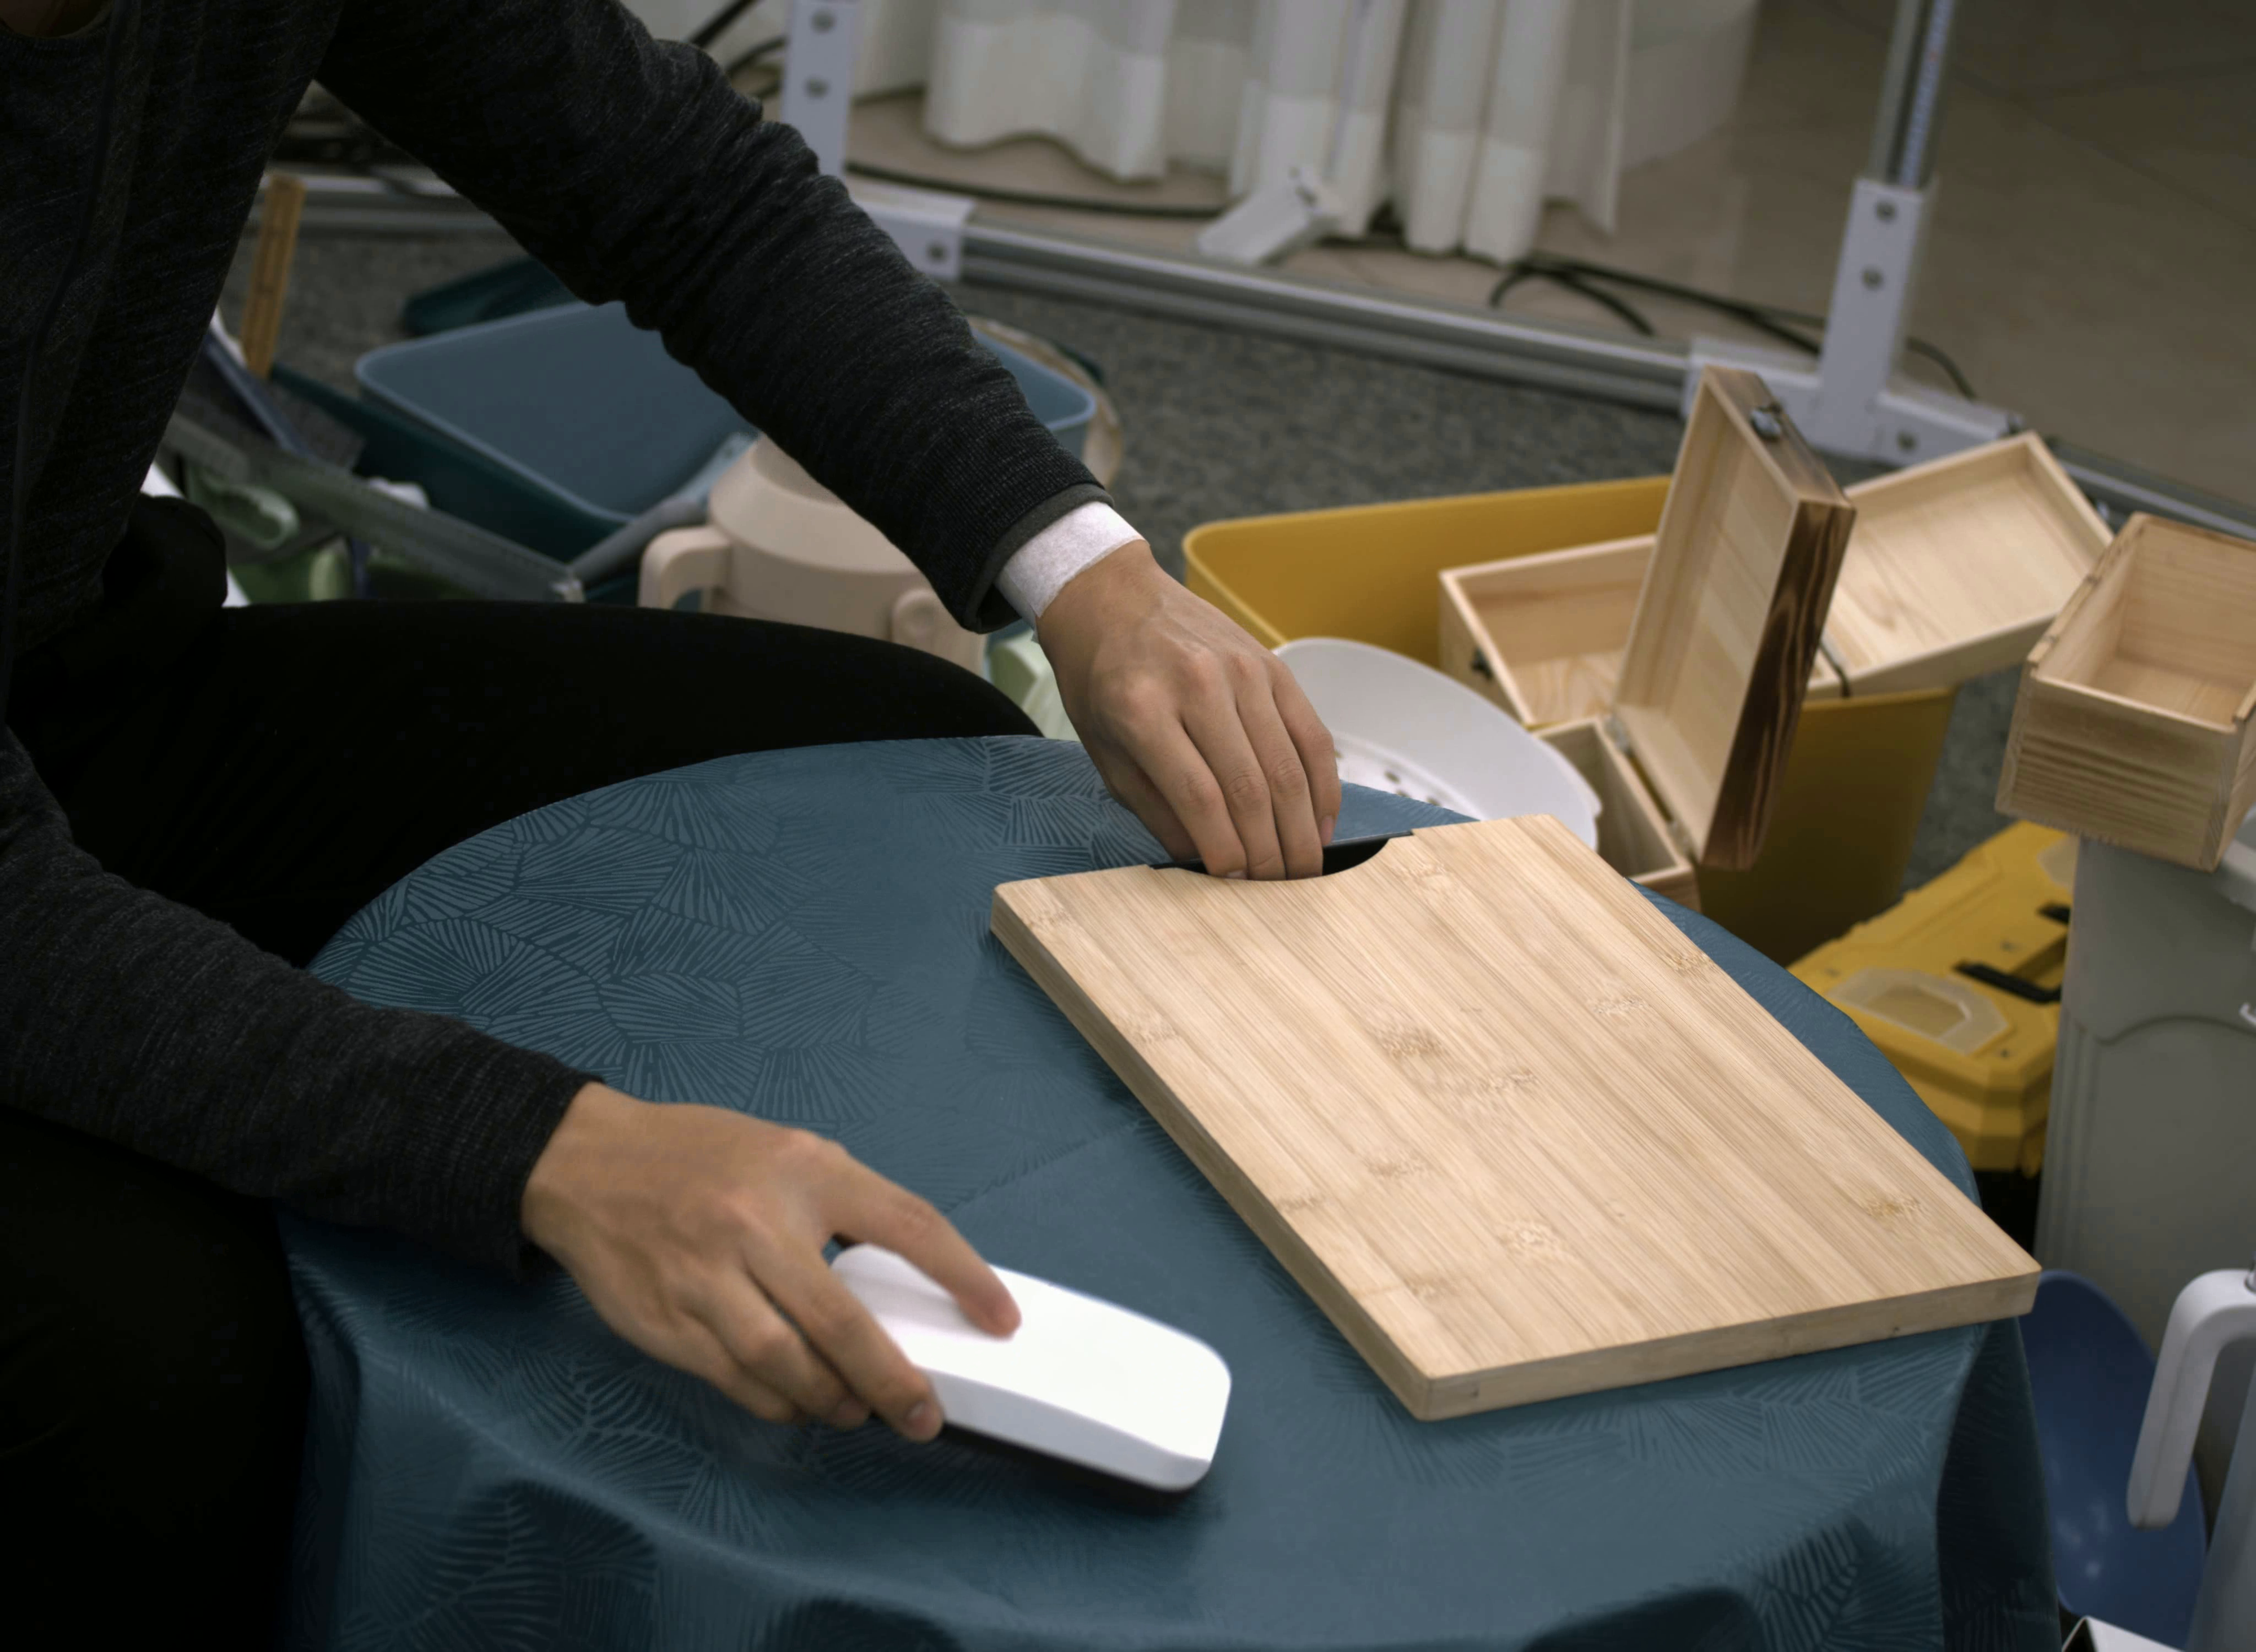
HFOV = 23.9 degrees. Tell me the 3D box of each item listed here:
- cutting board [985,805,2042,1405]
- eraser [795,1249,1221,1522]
[{"bbox_3d":[0.127,0.091,1.876,0.249,0.023,0.352,-7,30,-26],"label":"cutting board"},{"bbox_3d":[-0.037,0.170,1.641,0.131,0.034,0.063,19,30,2],"label":"eraser"}]
